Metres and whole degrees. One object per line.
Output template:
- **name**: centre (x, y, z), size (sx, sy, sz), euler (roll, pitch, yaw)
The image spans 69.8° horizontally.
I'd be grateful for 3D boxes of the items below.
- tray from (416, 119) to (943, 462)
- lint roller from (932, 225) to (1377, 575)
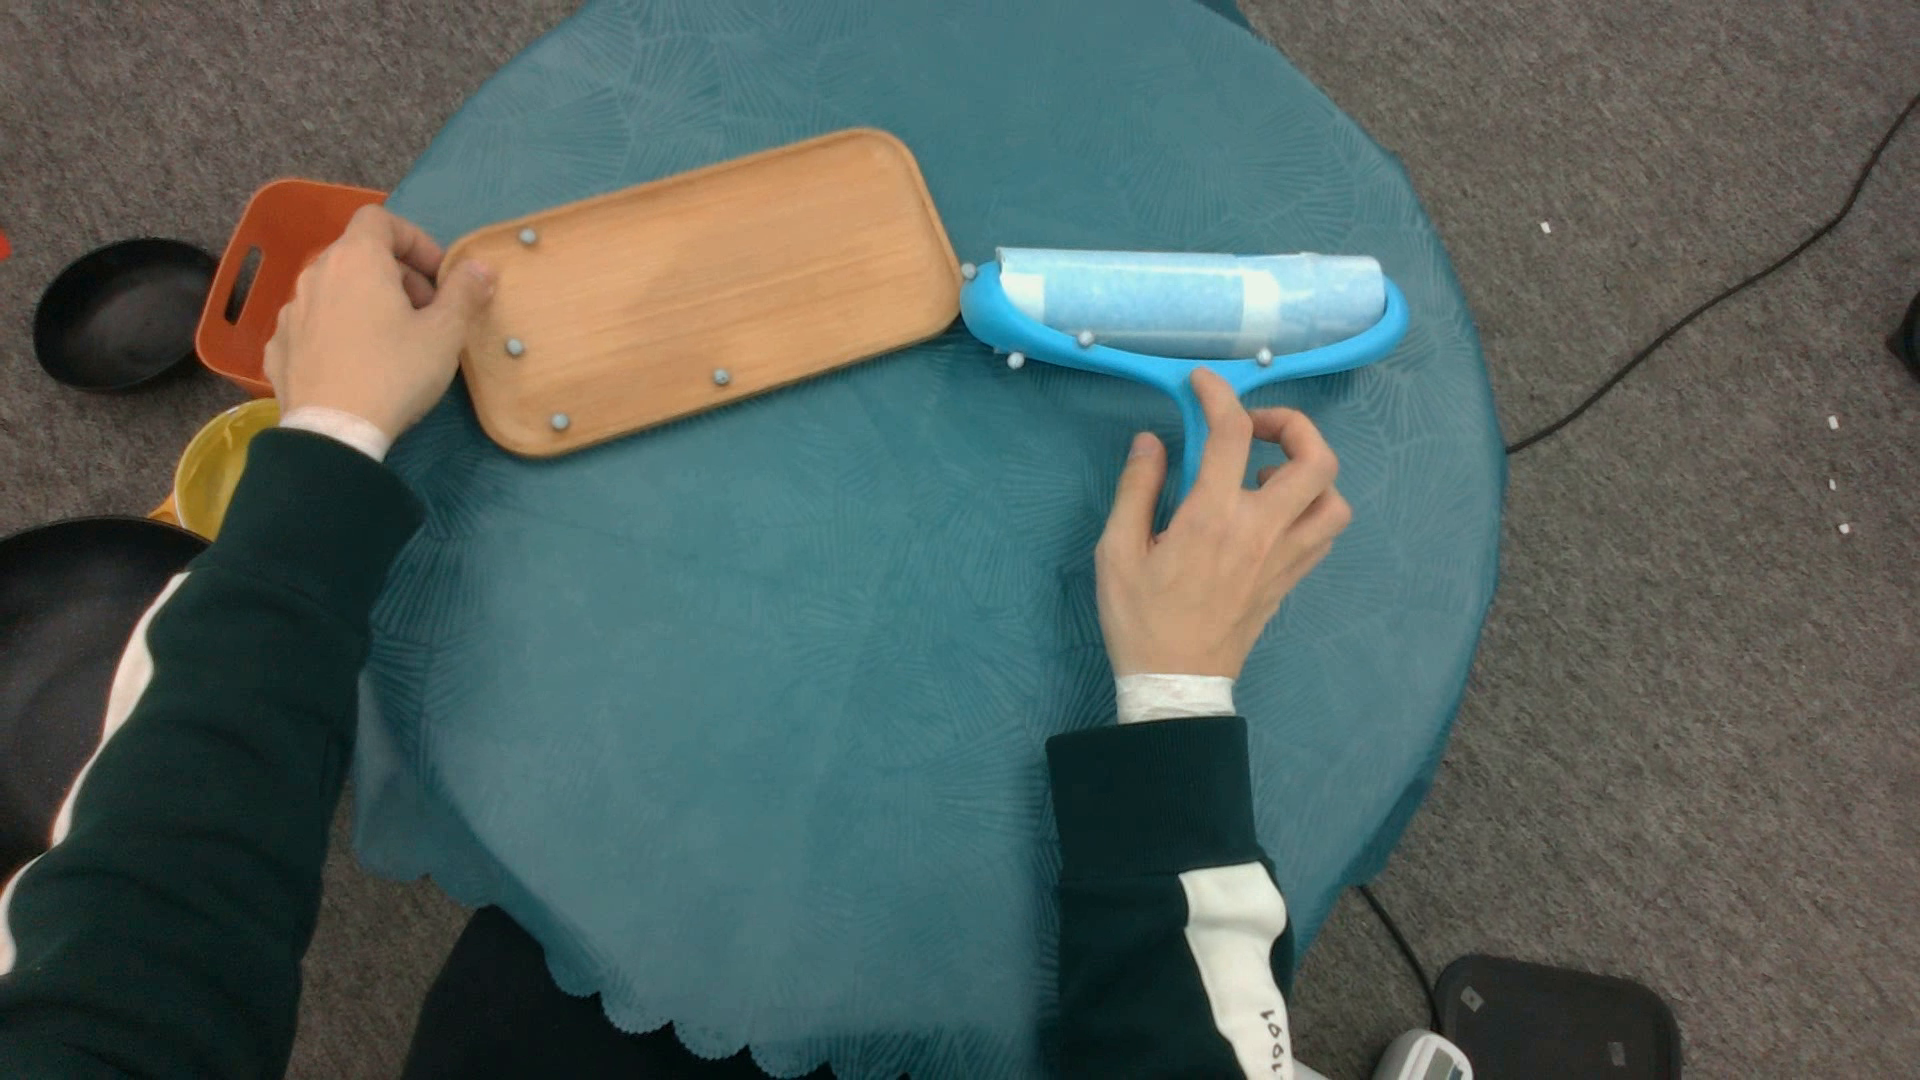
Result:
- **tray**: centre (-0.139, -0.130, 0.700), size (0.251, 0.023, 0.131), euler (-20, 78, -12)
- **lint roller**: centre (0.106, -0.077, 0.687), size (0.229, 0.067, 0.180), euler (-4, 72, -9)
